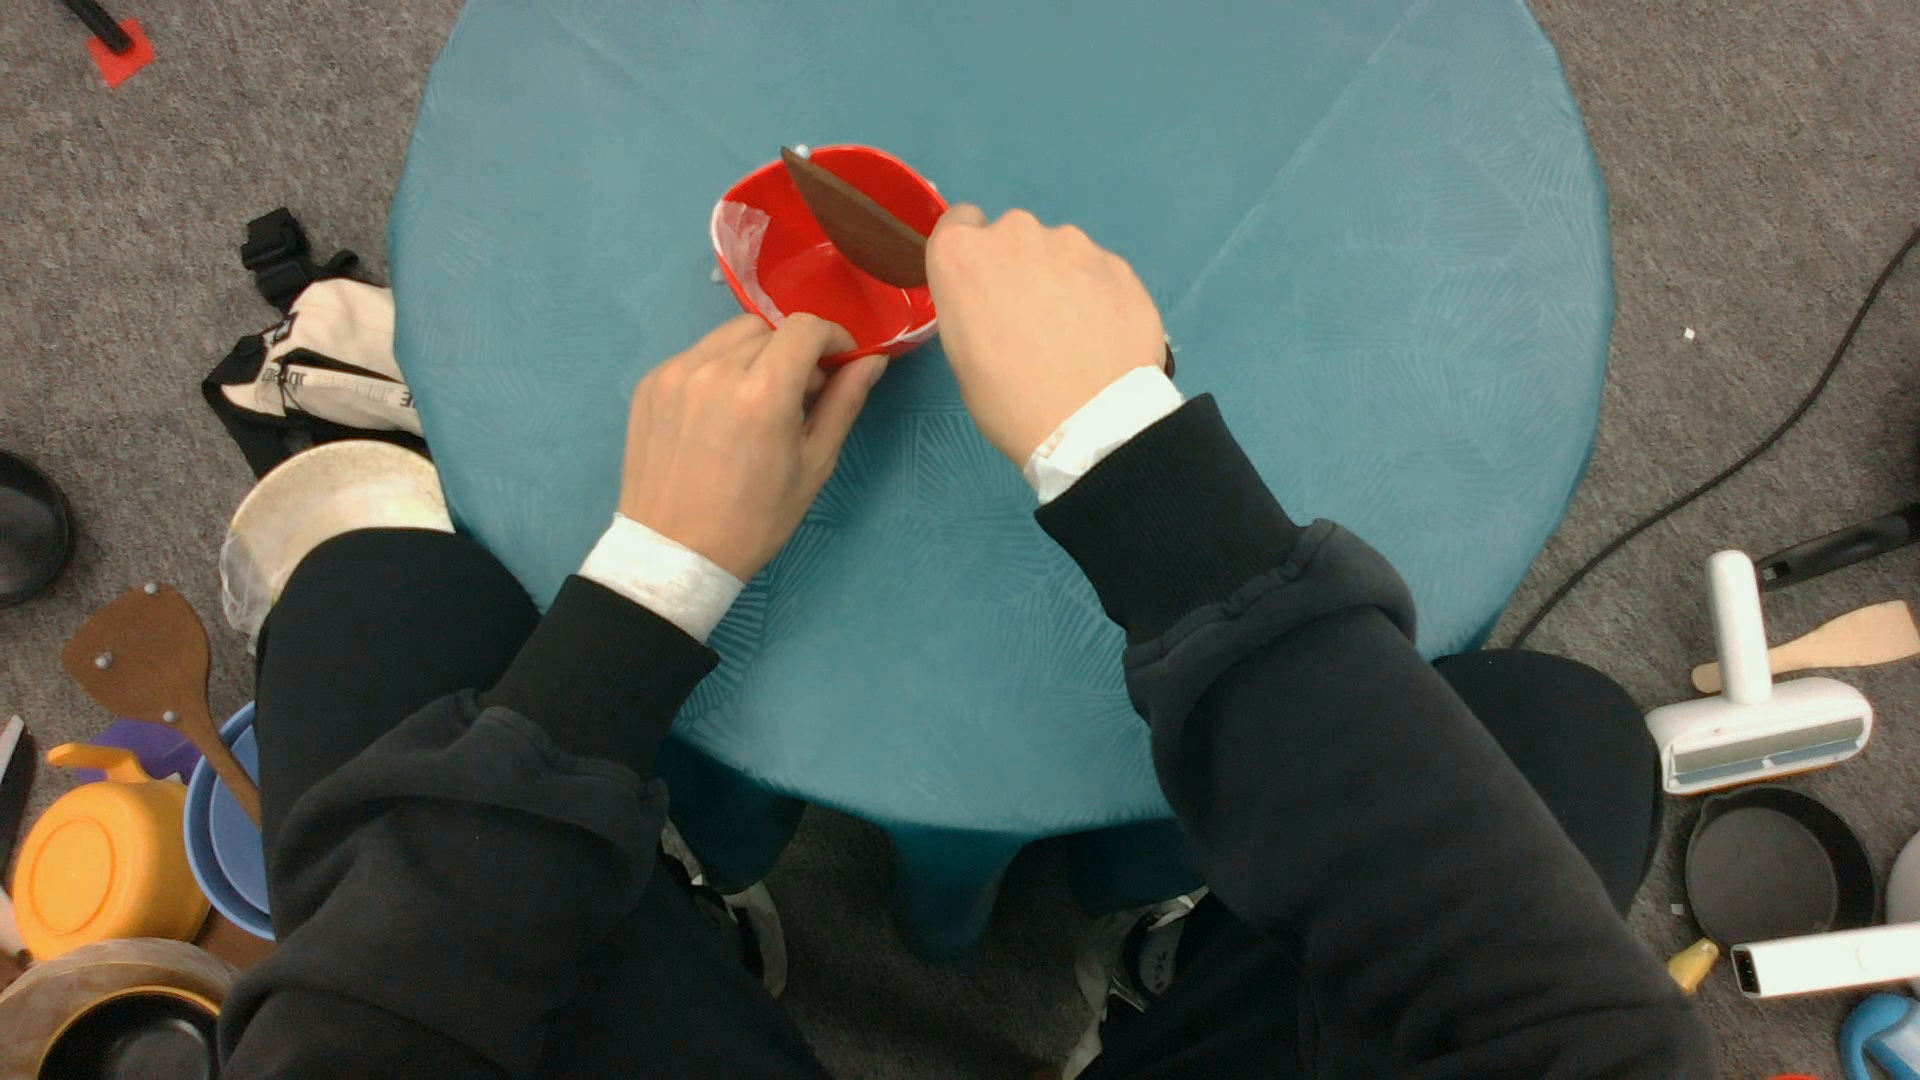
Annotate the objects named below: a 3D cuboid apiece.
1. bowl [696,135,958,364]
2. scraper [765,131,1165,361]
[{"bbox_3d":[-0.063,-0.125,0.636,0.119,0.051,0.119,6,62,-10],"label":"bowl"},{"bbox_3d":[-0.002,-0.118,0.577,0.211,0.075,0.011,29,75,32],"label":"scraper"}]
